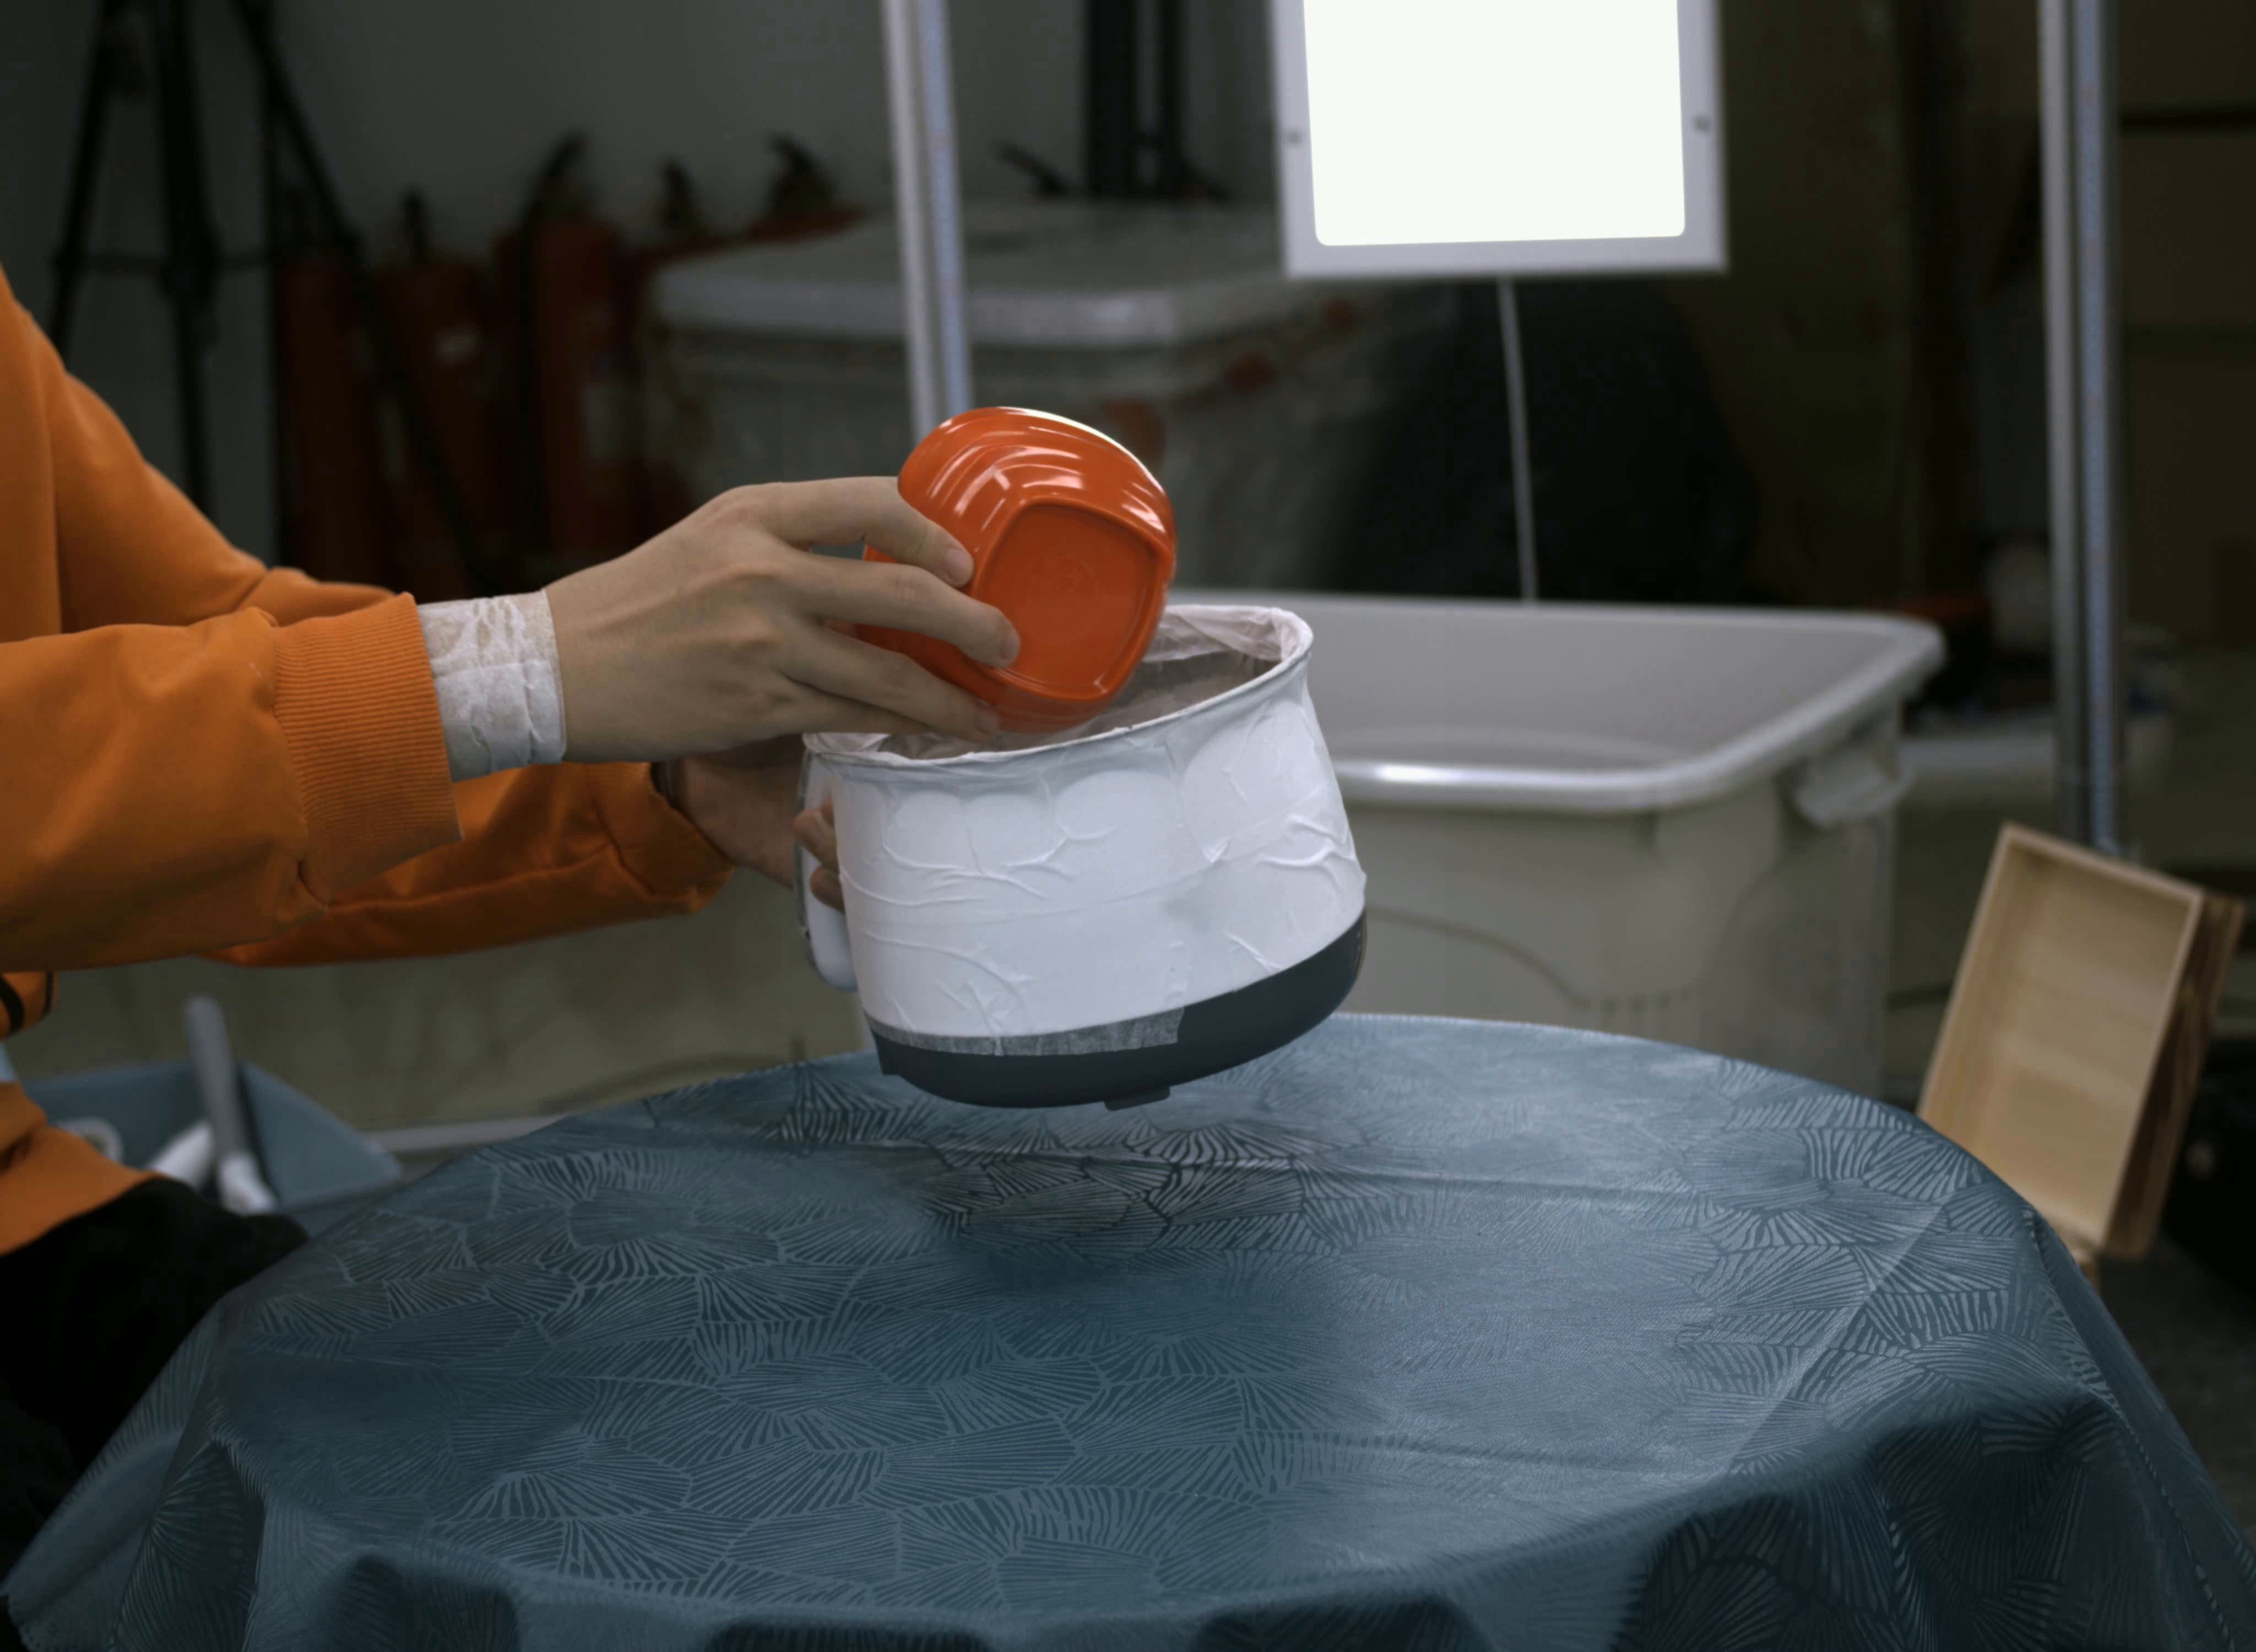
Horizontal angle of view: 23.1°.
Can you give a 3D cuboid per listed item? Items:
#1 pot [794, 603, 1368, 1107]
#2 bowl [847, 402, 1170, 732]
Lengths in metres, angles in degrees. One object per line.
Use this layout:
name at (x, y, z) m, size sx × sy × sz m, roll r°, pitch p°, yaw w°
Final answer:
pot at (-0.031, 0.009, 1.895) m, size 0.239 × 0.137 × 0.174 m, roll 2°, pitch 20°, yaw 44°
bowl at (-0.032, -0.082, 1.857) m, size 0.117 × 0.119 × 0.052 m, roll -9°, pitch 19°, yaw -20°
